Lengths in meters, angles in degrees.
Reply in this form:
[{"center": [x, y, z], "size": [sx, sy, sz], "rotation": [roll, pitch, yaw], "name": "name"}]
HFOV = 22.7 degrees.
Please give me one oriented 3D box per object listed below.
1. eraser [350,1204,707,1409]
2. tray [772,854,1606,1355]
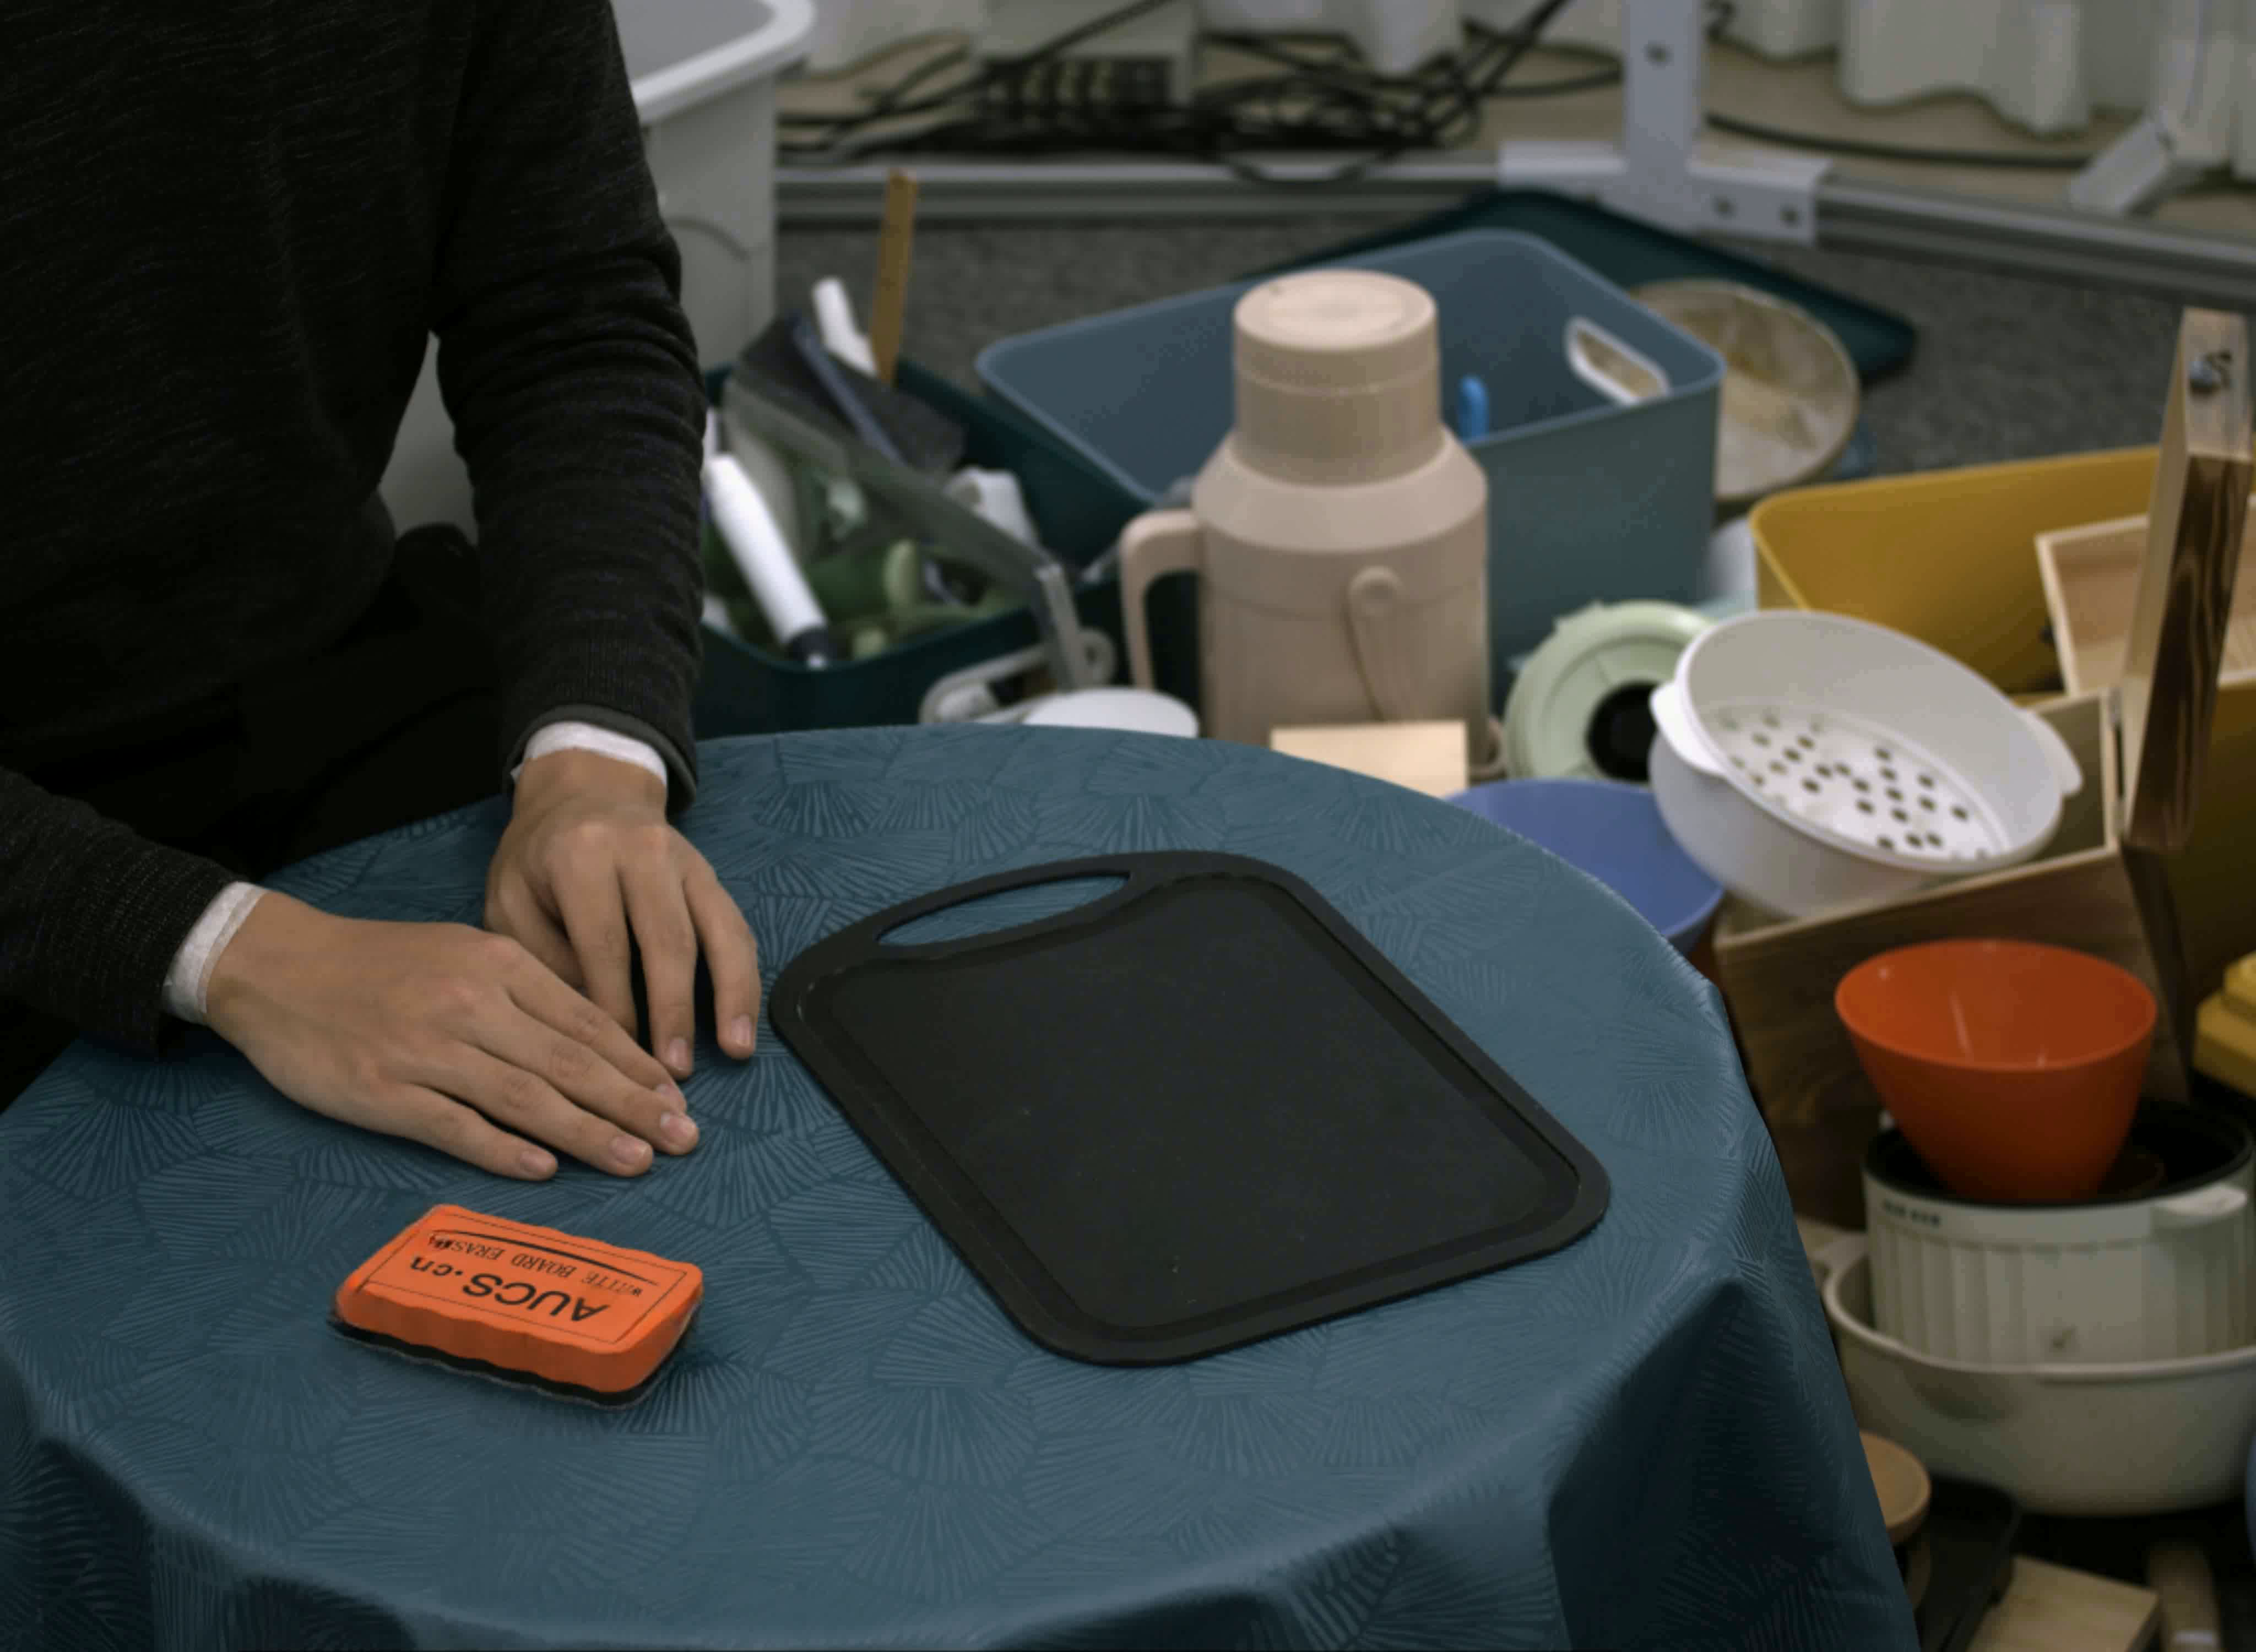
[{"center": [-0.191, 0.153, 1.793], "size": [0.107, 0.022, 0.060], "rotation": [12, 29, 26], "name": "eraser"}, {"center": [0.011, 0.085, 1.922], "size": [0.212, 0.009, 0.327], "rotation": [-13, 29, -20], "name": "tray"}]
